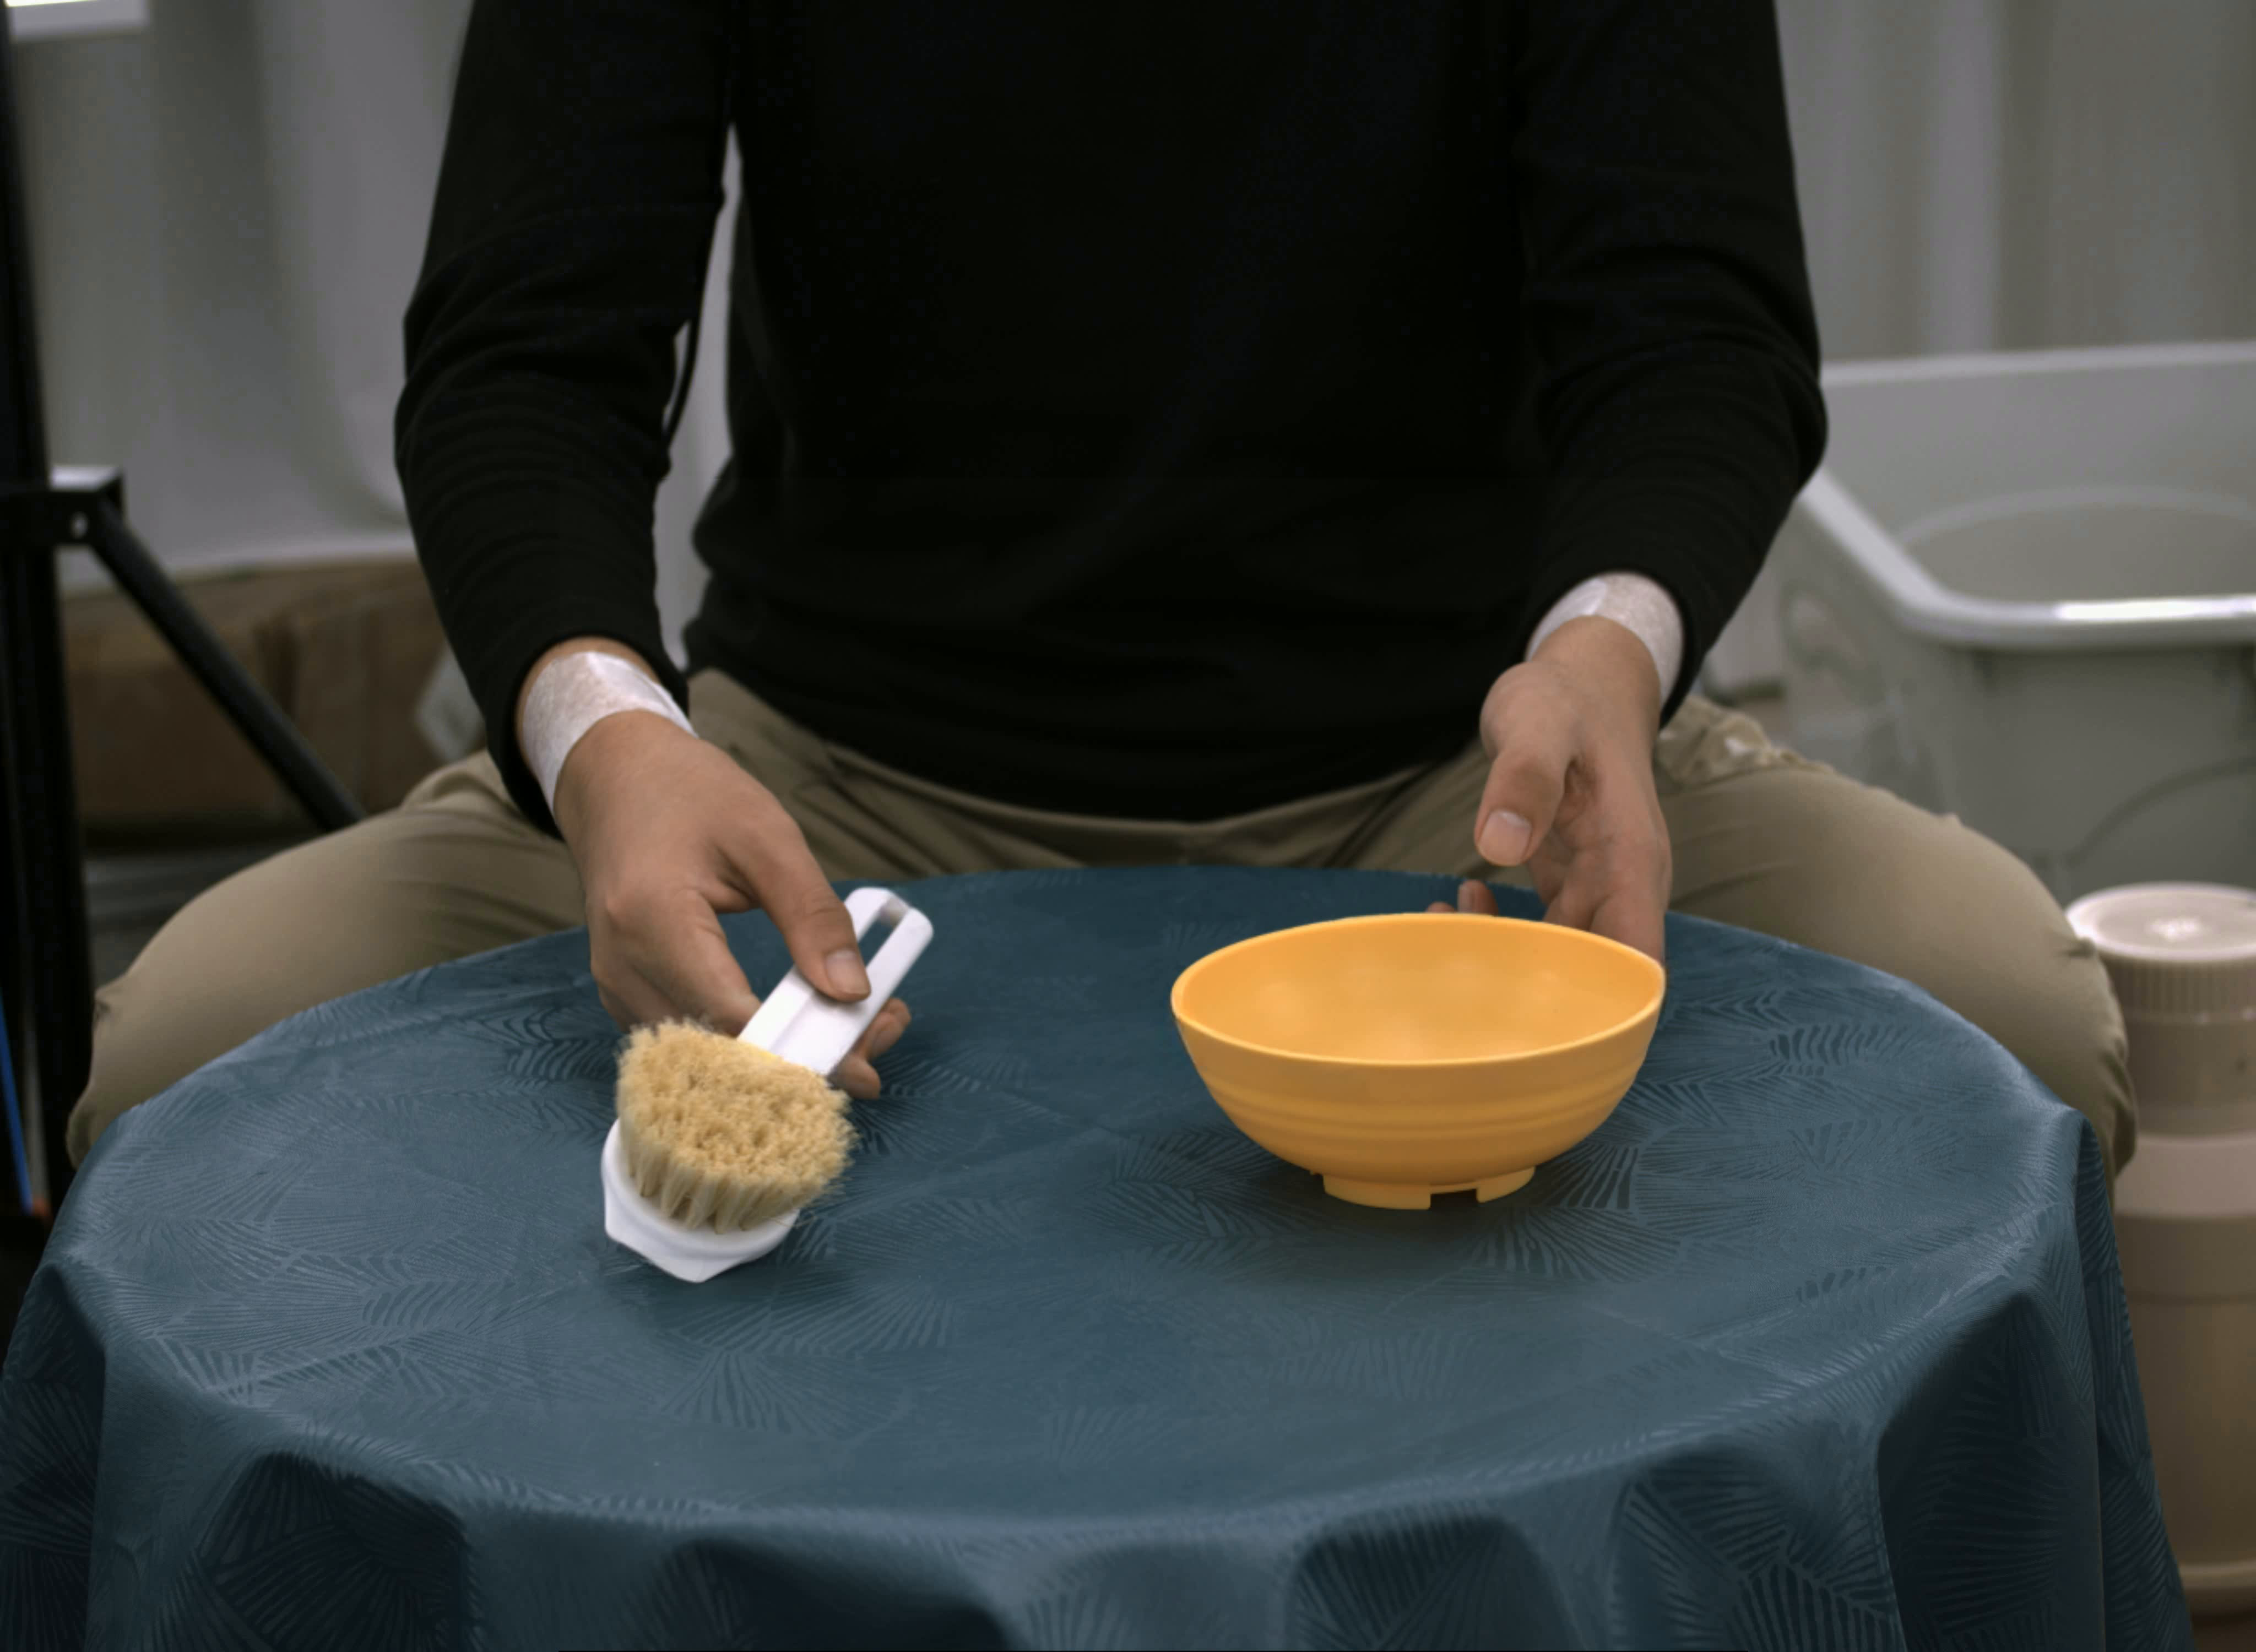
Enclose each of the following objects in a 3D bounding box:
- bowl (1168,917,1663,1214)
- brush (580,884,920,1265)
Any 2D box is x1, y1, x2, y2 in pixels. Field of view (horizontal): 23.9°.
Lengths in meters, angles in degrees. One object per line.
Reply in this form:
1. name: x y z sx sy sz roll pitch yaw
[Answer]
1. bowl: 0.084 0.075 1.554 0.144 0.060 0.146 -1 15 -1
2. brush: -0.100 0.053 1.604 0.068 0.056 0.265 32 25 2
